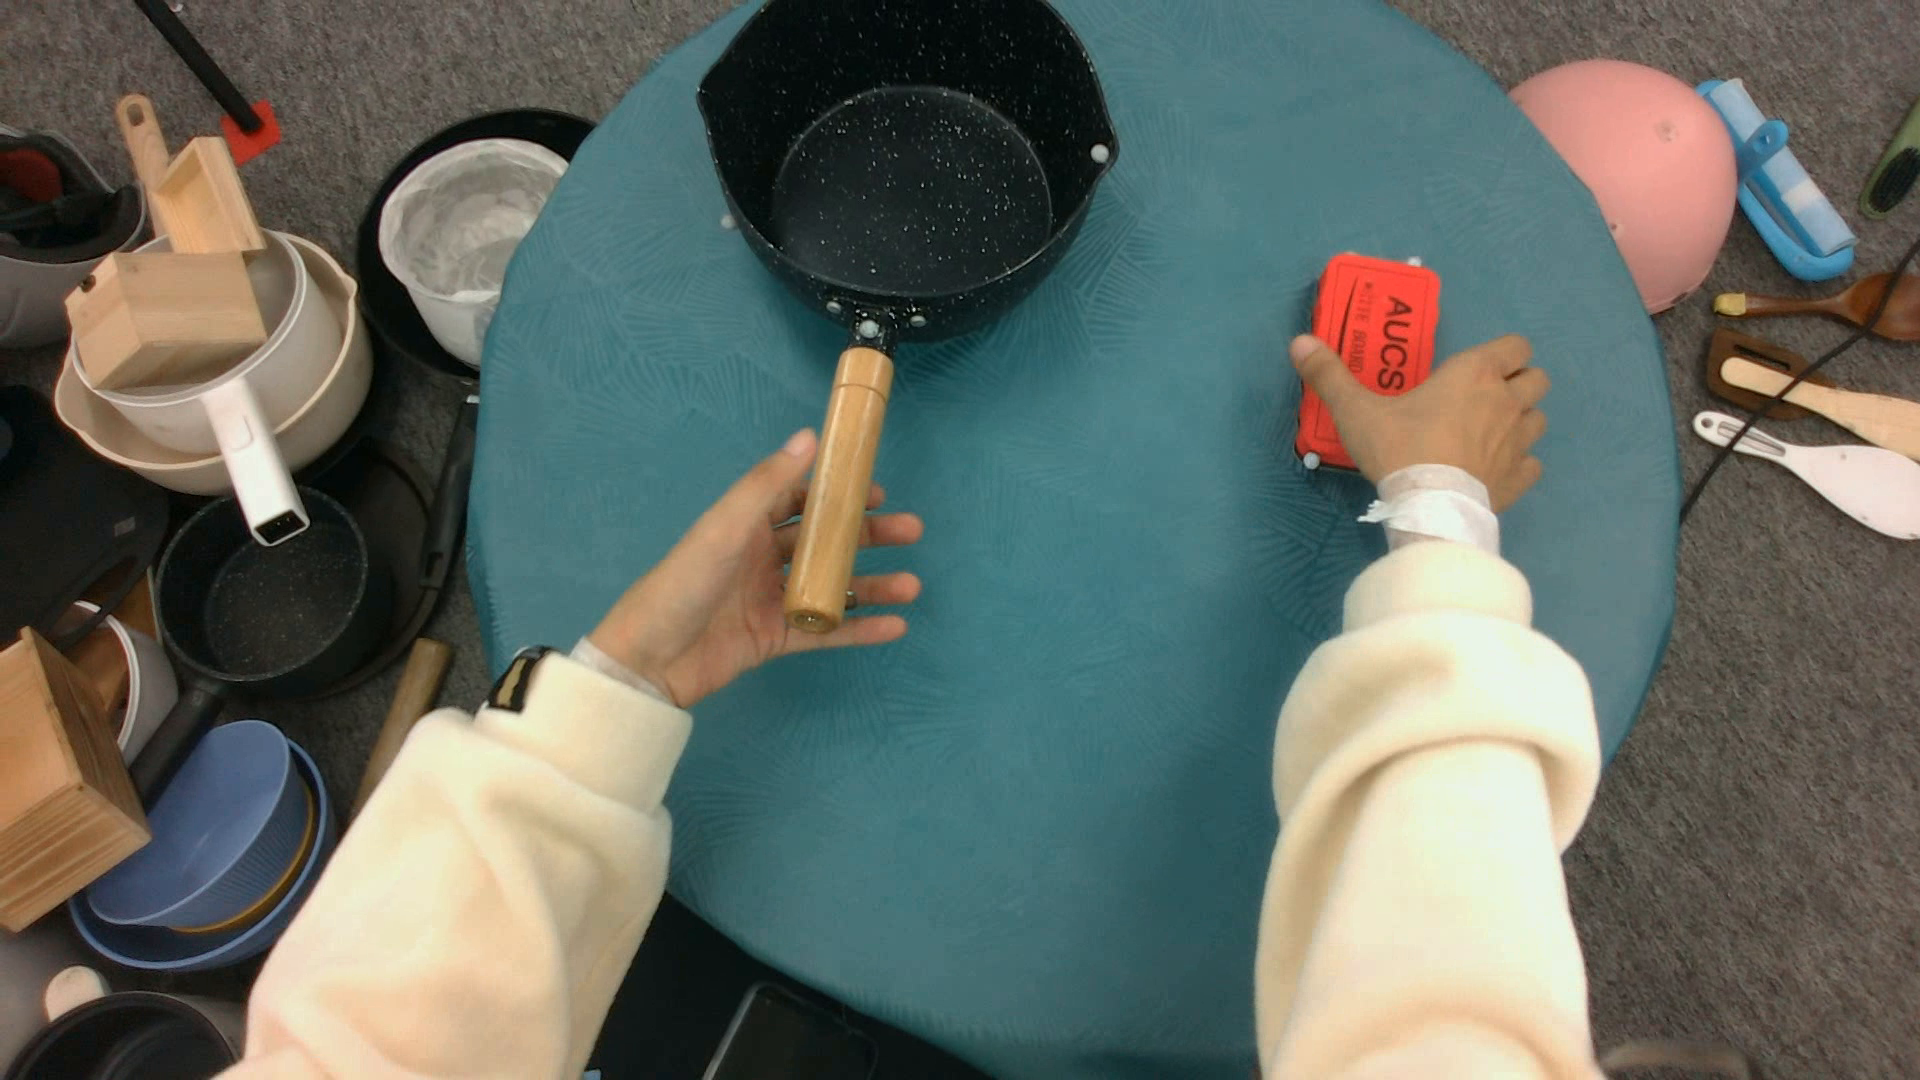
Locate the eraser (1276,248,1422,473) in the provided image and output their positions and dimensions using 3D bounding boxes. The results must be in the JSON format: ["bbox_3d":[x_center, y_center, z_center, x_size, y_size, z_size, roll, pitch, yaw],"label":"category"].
[{"bbox_3d":[0.195,-0.090,0.689,0.059,0.023,0.108,12,73,1],"label":"eraser"}]

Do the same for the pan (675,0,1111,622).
[{"bbox_3d":[-0.041,-0.115,0.647,0.207,0.108,0.344,7,71,0],"label":"pan"}]
